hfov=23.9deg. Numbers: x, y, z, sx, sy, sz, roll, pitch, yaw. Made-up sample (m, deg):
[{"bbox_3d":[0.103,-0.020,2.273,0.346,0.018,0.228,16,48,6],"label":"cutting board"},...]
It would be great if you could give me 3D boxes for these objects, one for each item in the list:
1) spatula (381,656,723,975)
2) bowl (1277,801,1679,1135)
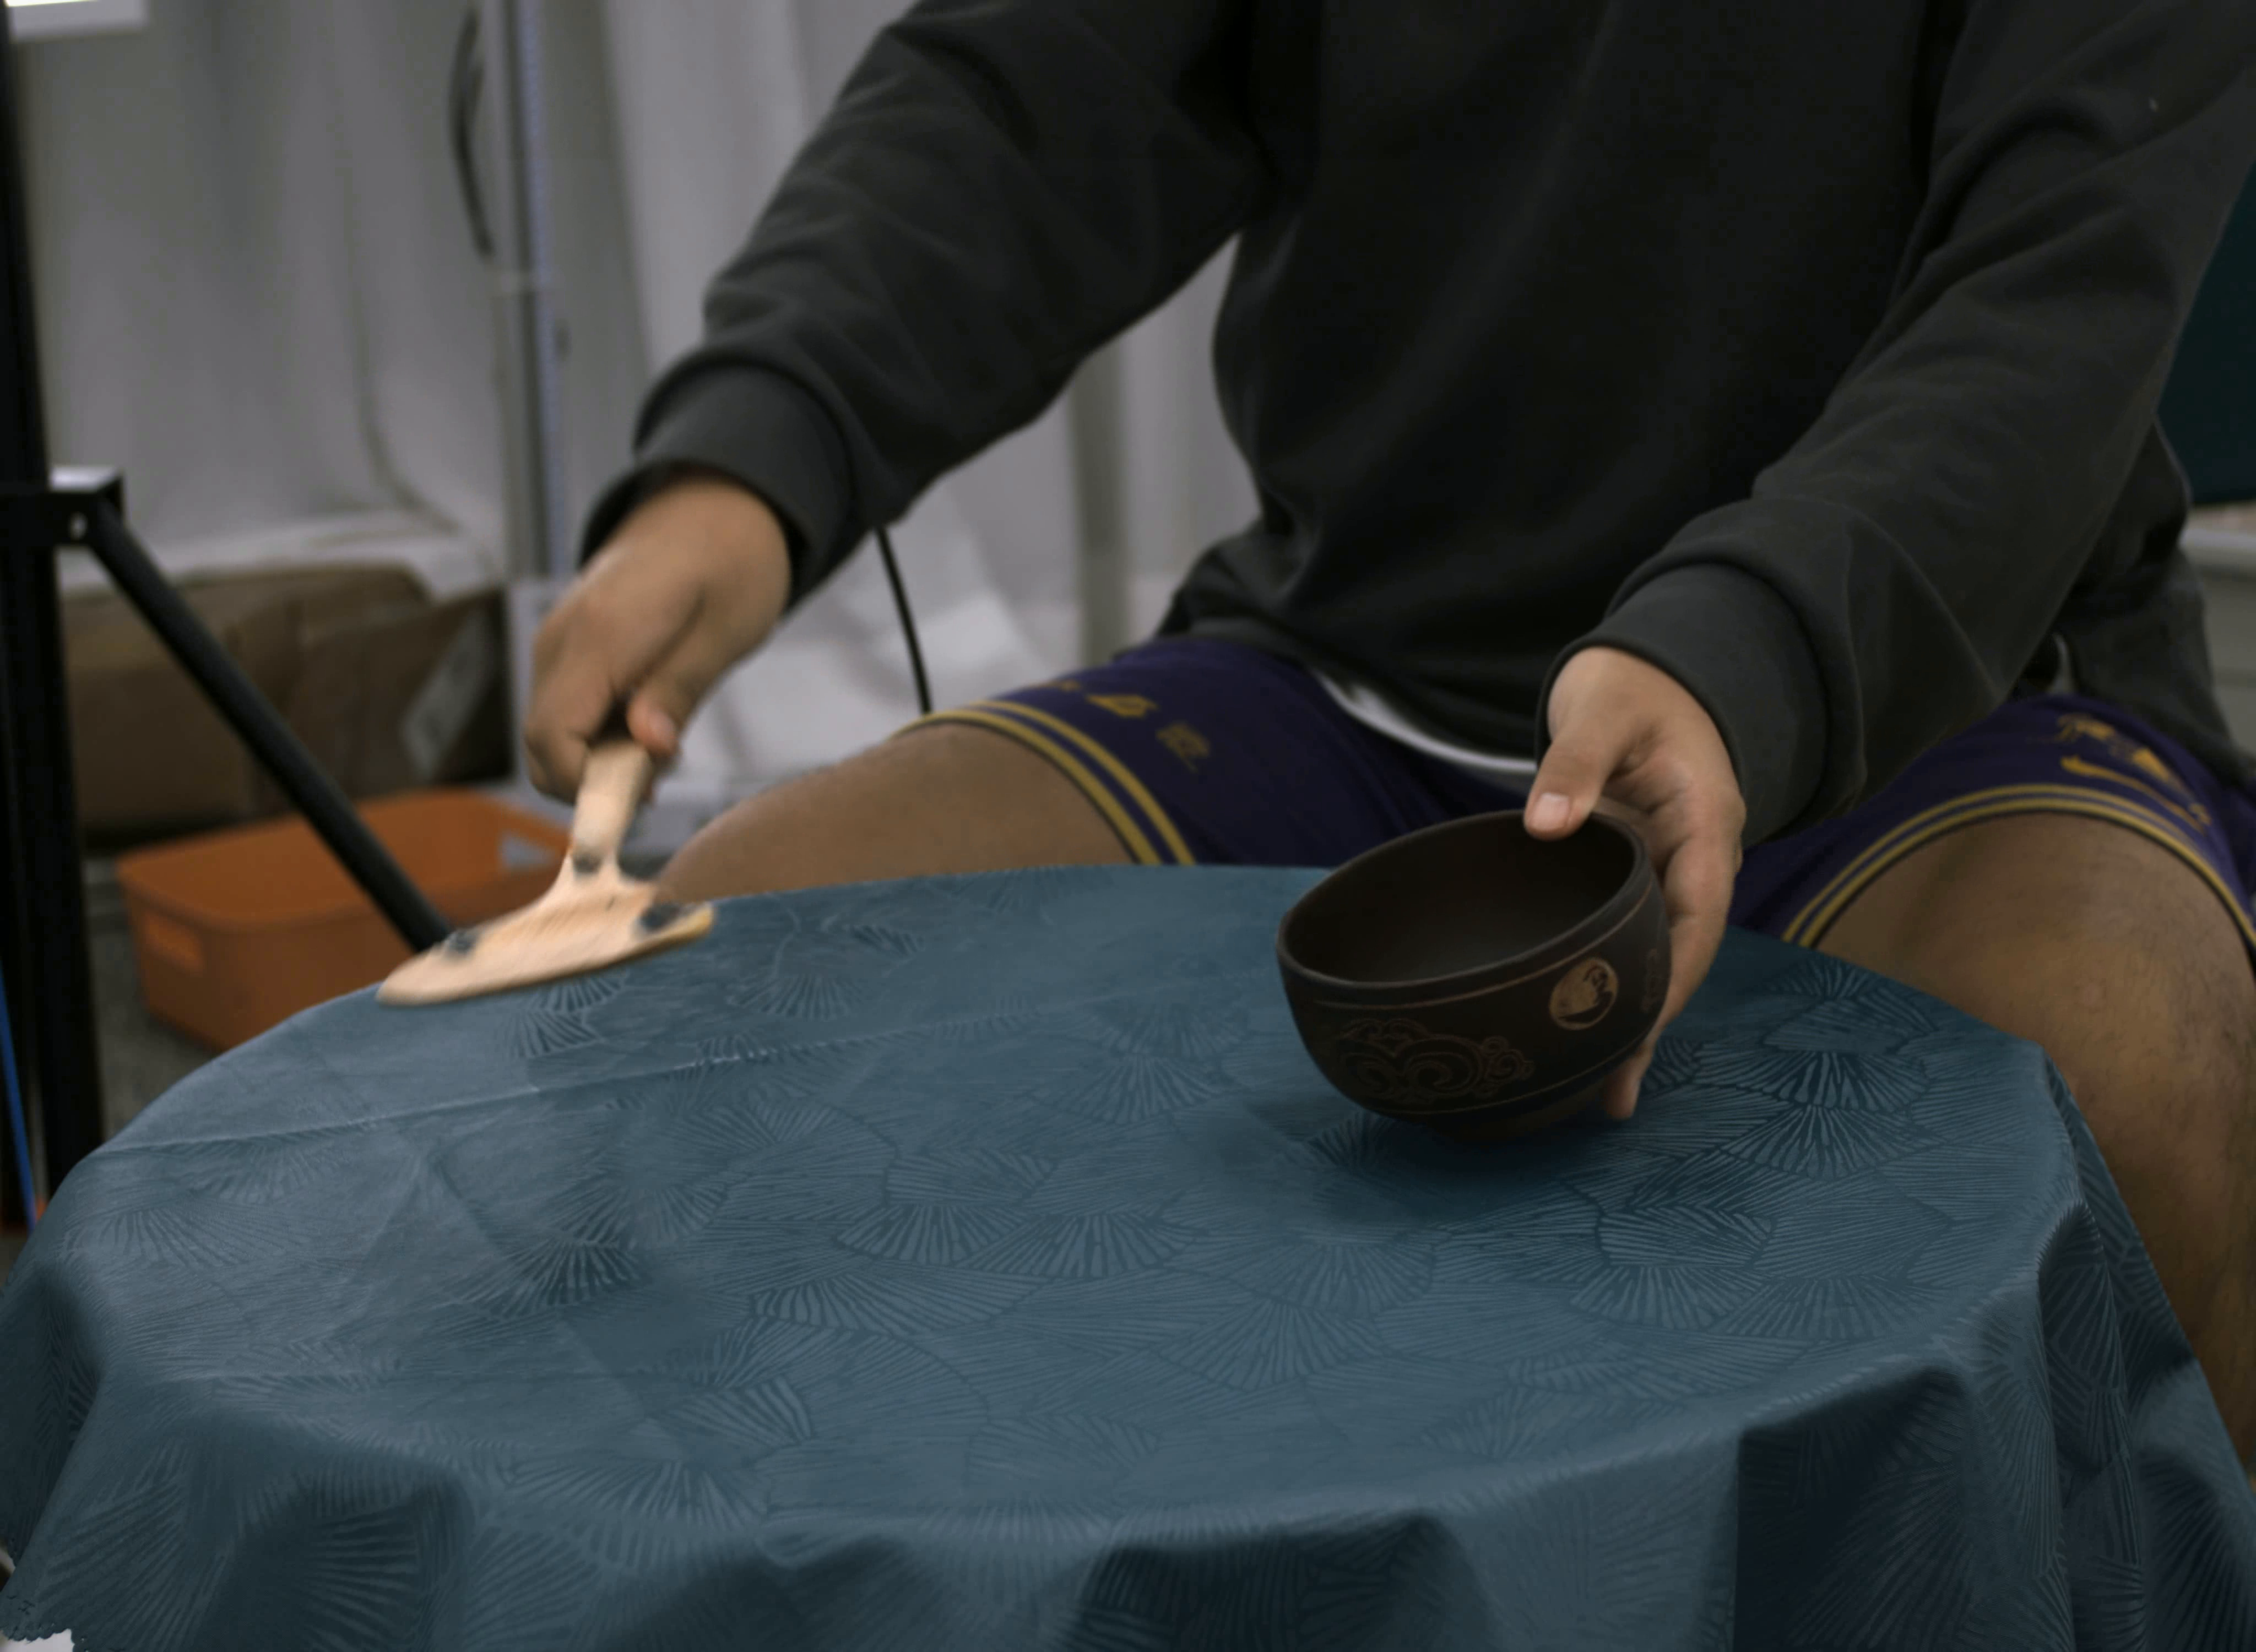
[{"bbox_3d":[-0.168,-0.008,1.653,0.095,0.018,0.393,-10,15,0],"label":"spatula"},{"bbox_3d":[0.108,0.049,1.581,0.118,0.069,0.119,-15,21,4],"label":"bowl"}]
